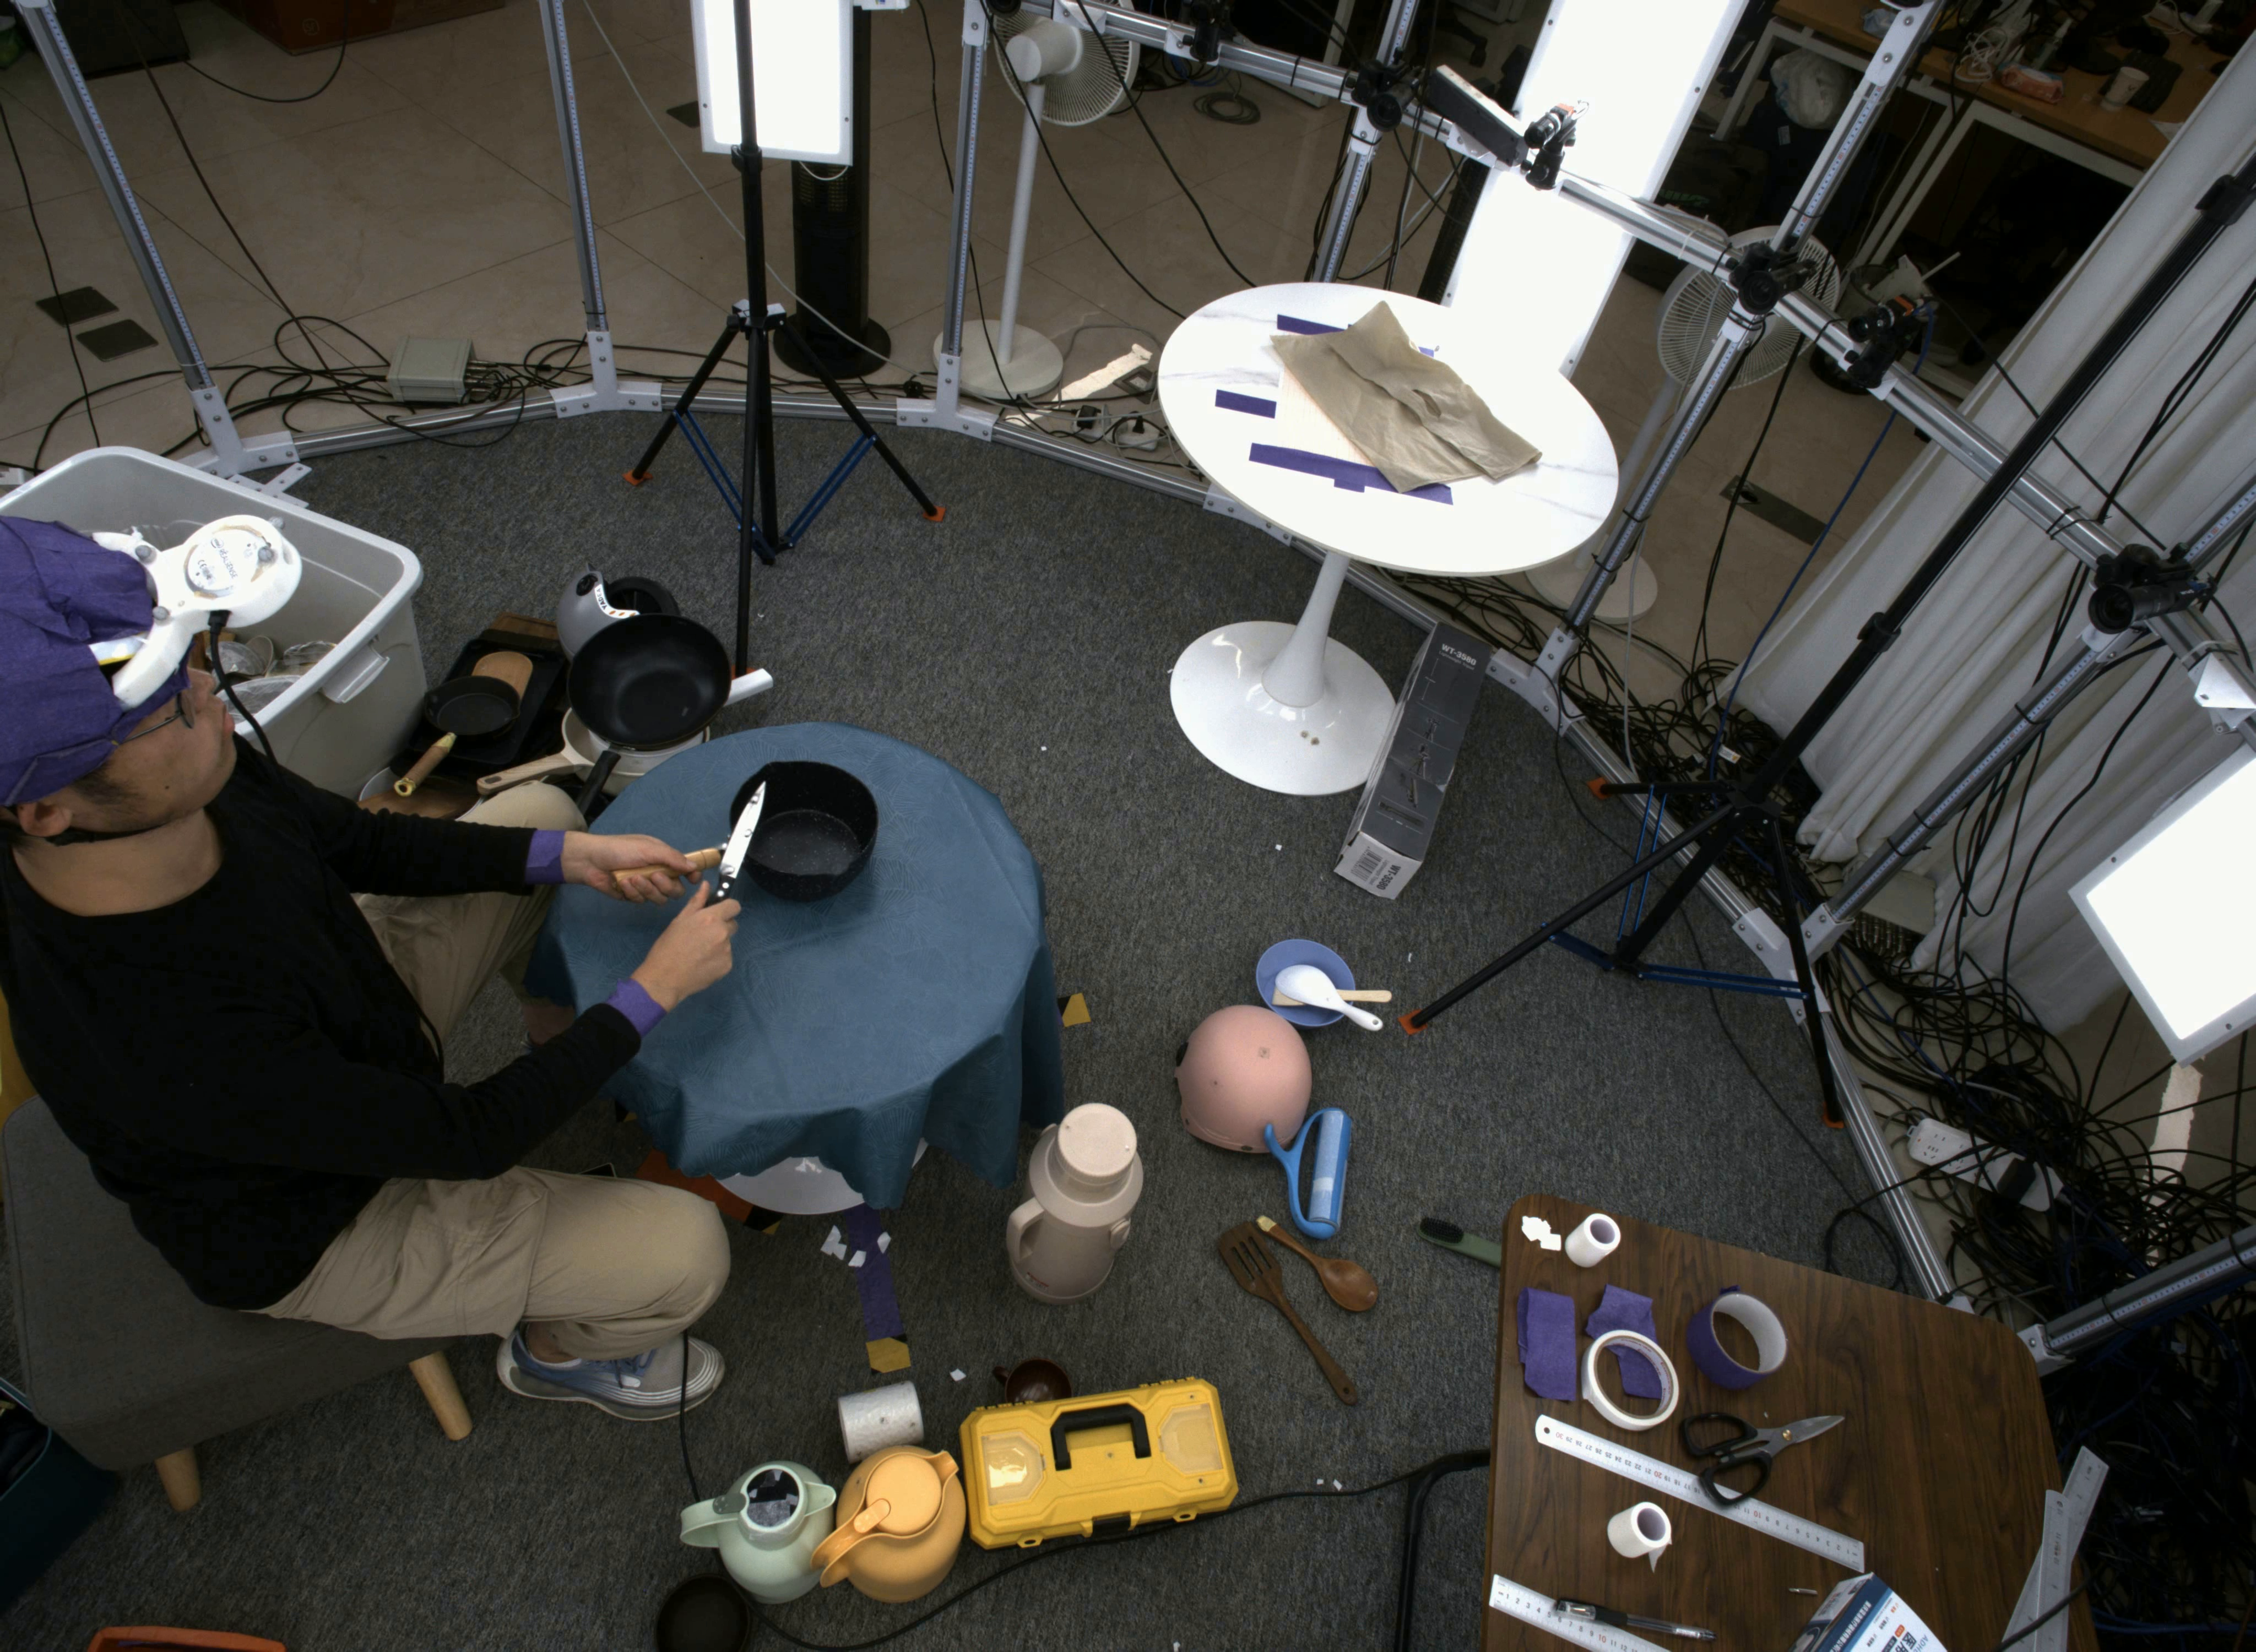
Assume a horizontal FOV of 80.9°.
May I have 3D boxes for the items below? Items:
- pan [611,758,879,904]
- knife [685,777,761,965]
[{"bbox_3d":[-0.475,0.033,1.610,0.345,0.110,0.202,-24,63,-32],"label":"pan"},{"bbox_3d":[-0.468,0.050,1.512,0.025,0.016,0.237,23,69,-21],"label":"knife"}]
